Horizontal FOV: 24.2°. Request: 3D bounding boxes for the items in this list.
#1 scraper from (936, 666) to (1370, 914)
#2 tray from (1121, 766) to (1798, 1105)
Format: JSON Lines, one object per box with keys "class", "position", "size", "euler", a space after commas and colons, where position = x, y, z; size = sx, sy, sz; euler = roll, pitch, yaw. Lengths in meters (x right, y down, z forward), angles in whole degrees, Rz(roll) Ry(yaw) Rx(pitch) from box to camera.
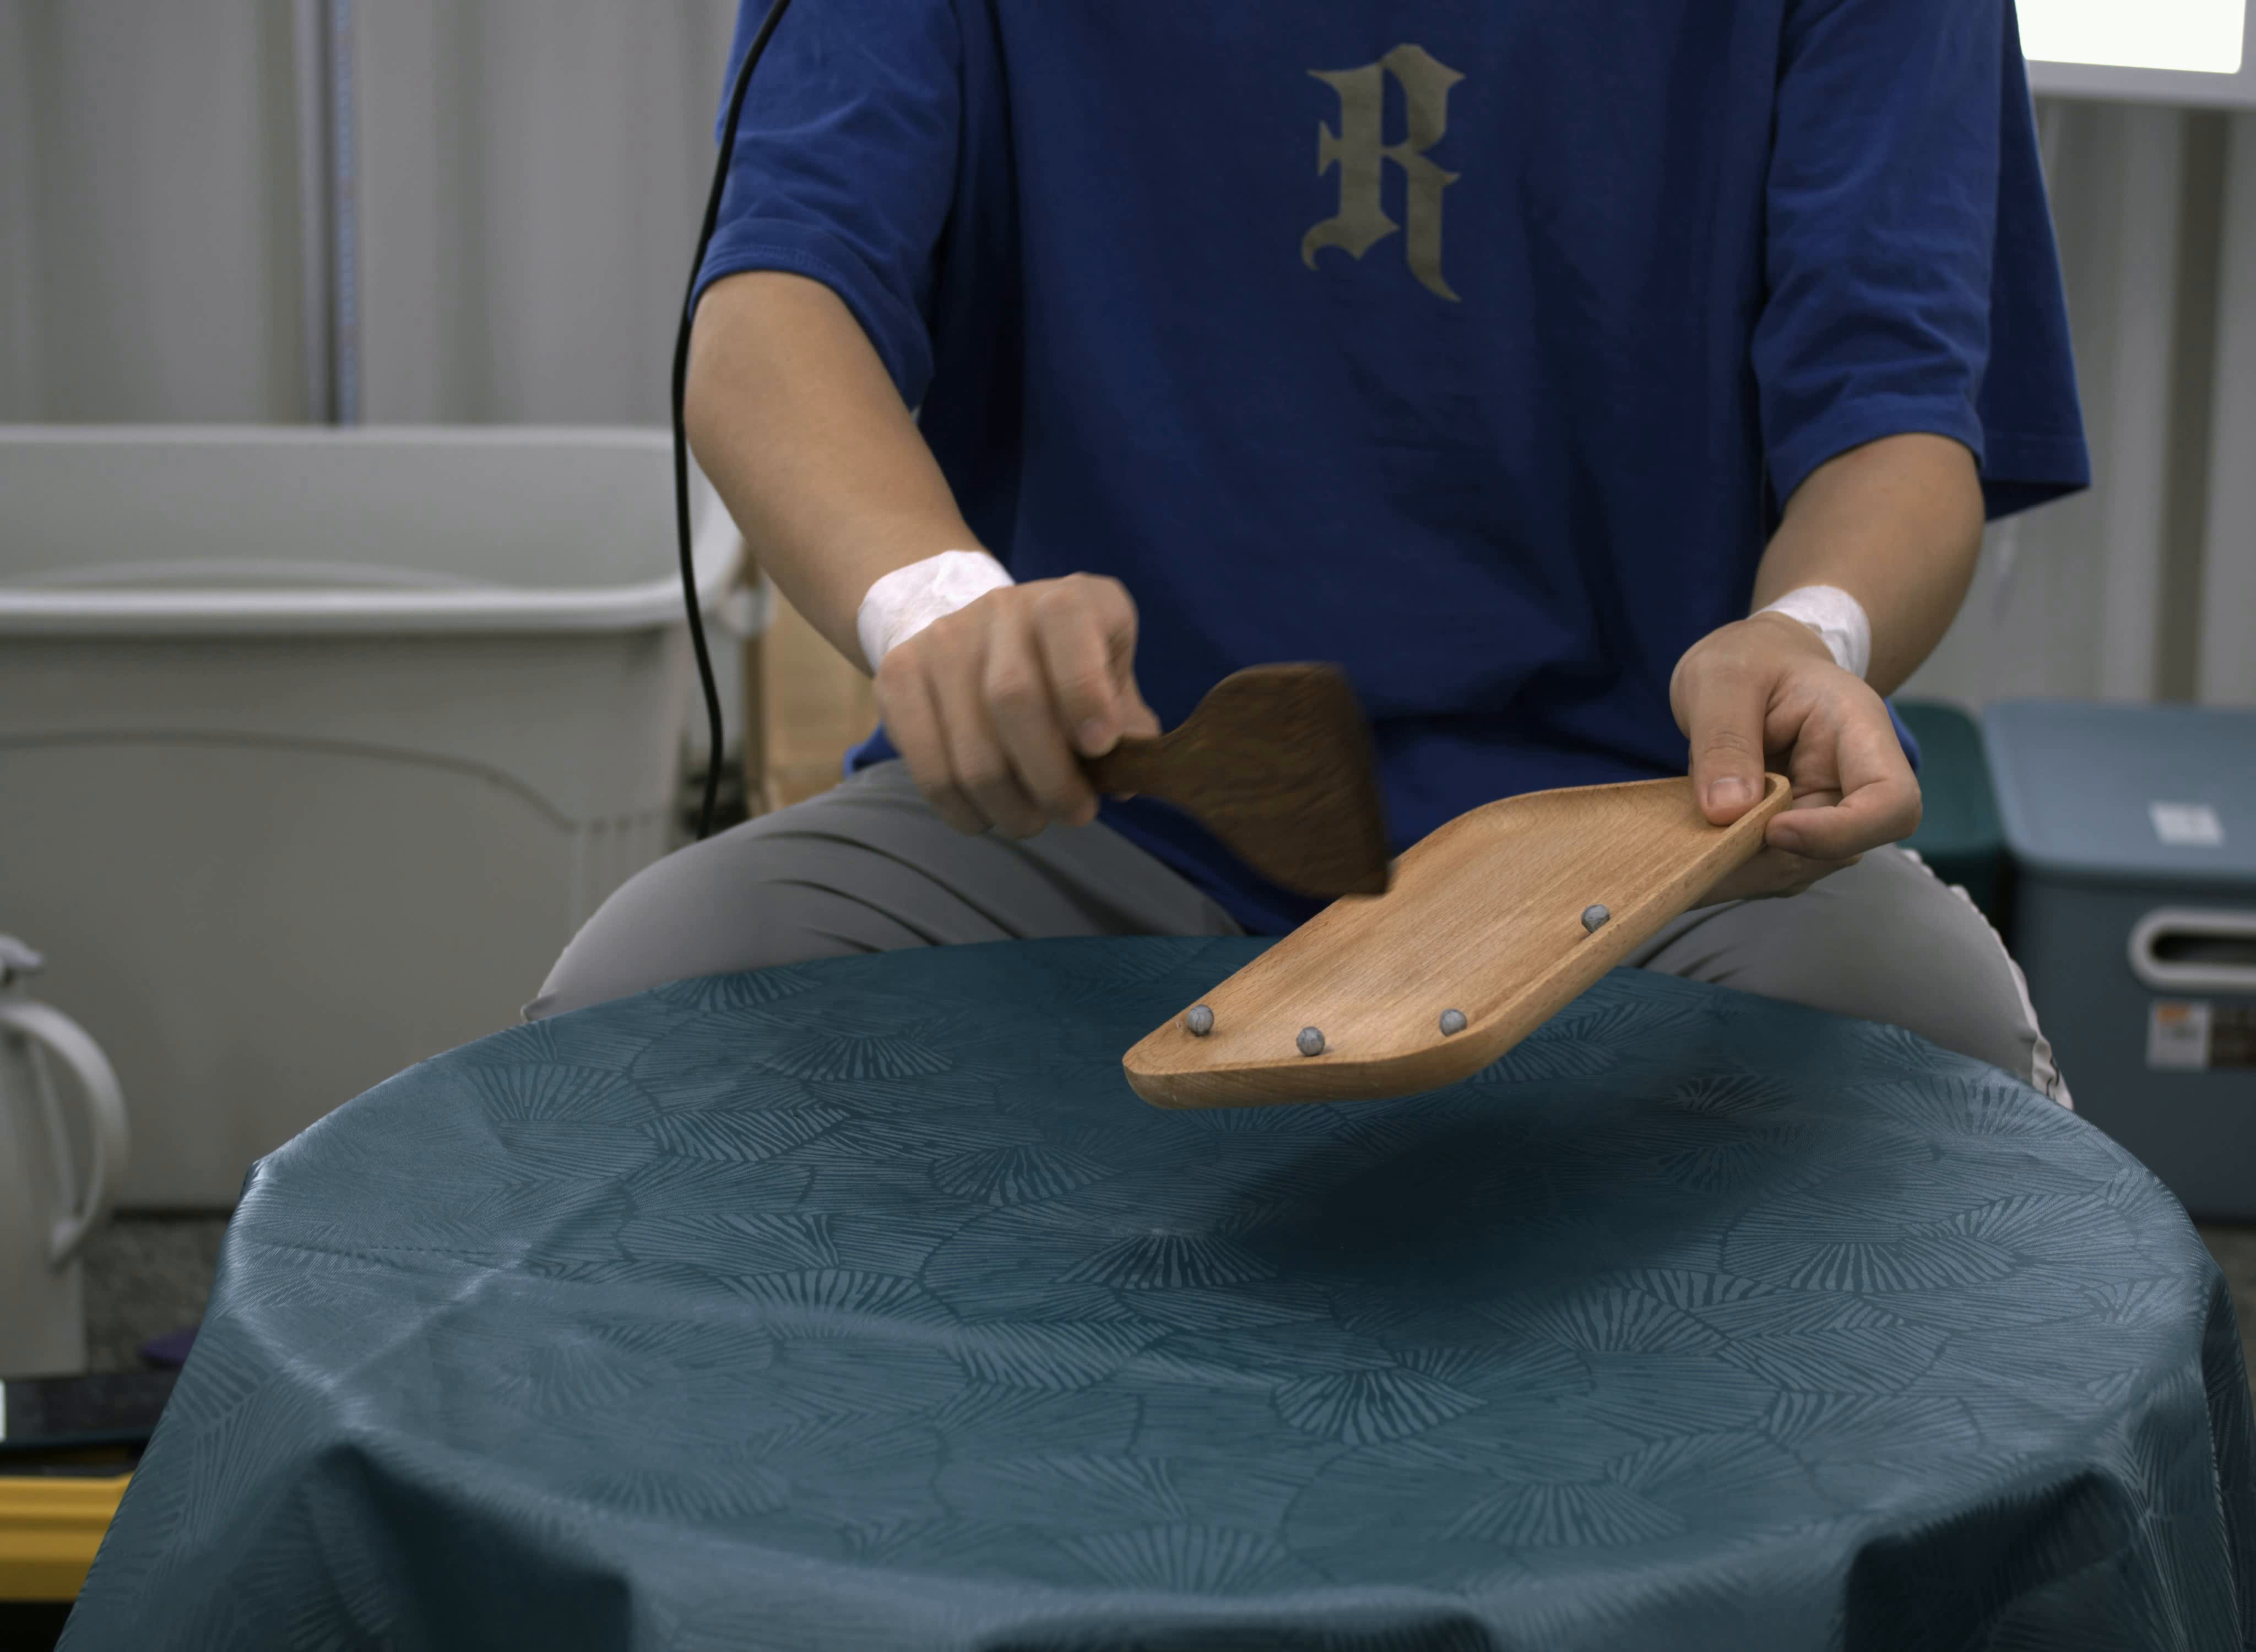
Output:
{"class": "scraper", "position": [0.002, -0.015, 1.608], "size": [0.011, 0.076, 0.209], "euler": [-24, 17, -32]}
{"class": "tray", "position": [0.106, 0.032, 1.617], "size": [0.129, 0.023, 0.251], "euler": [-2, 18, 35]}
